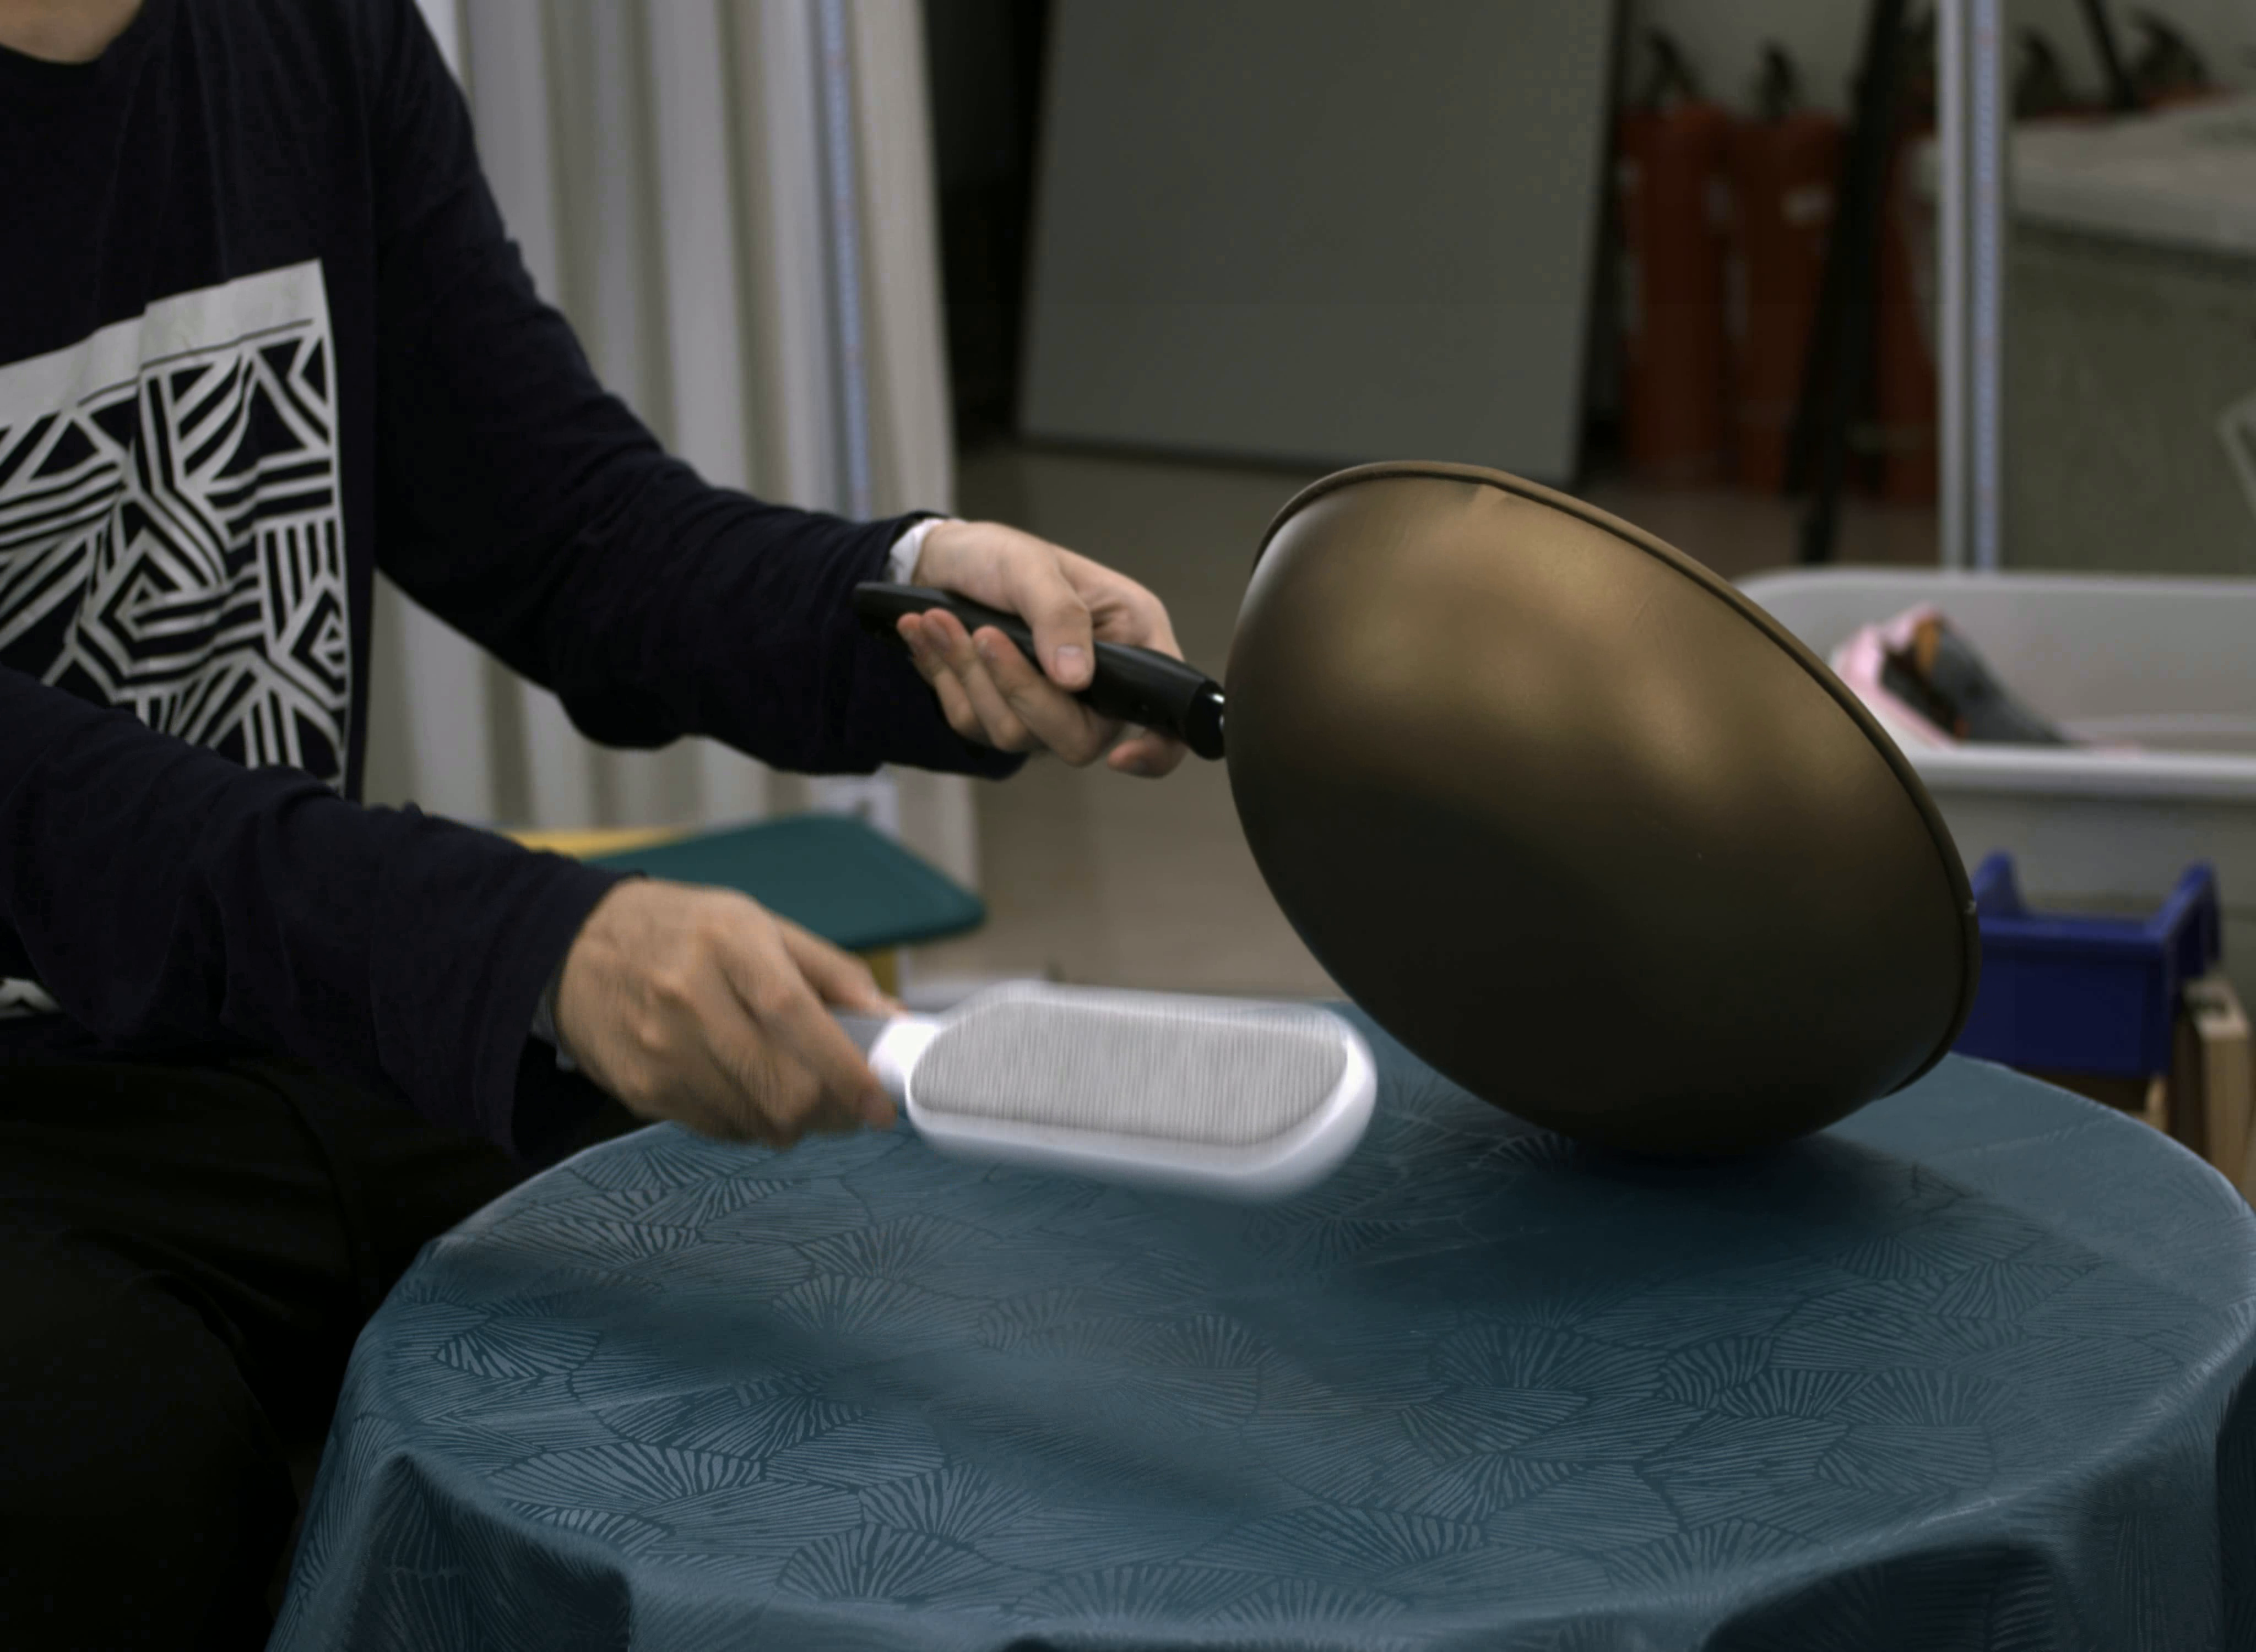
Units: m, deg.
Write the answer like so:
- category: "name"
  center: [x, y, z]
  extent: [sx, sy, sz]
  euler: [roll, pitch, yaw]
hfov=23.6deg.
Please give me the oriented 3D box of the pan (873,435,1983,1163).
- category: "pan"
  center: [0.063, -0.006, 1.775]
  extent: [0.467, 0.287, 0.086]
  euler: [15, 51, 40]

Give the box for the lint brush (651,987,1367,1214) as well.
- category: "lint brush"
  center: [-0.043, 0.075, 1.603]
  extent: [0.312, 0.021, 0.060]
  euler: [5, 55, 48]
